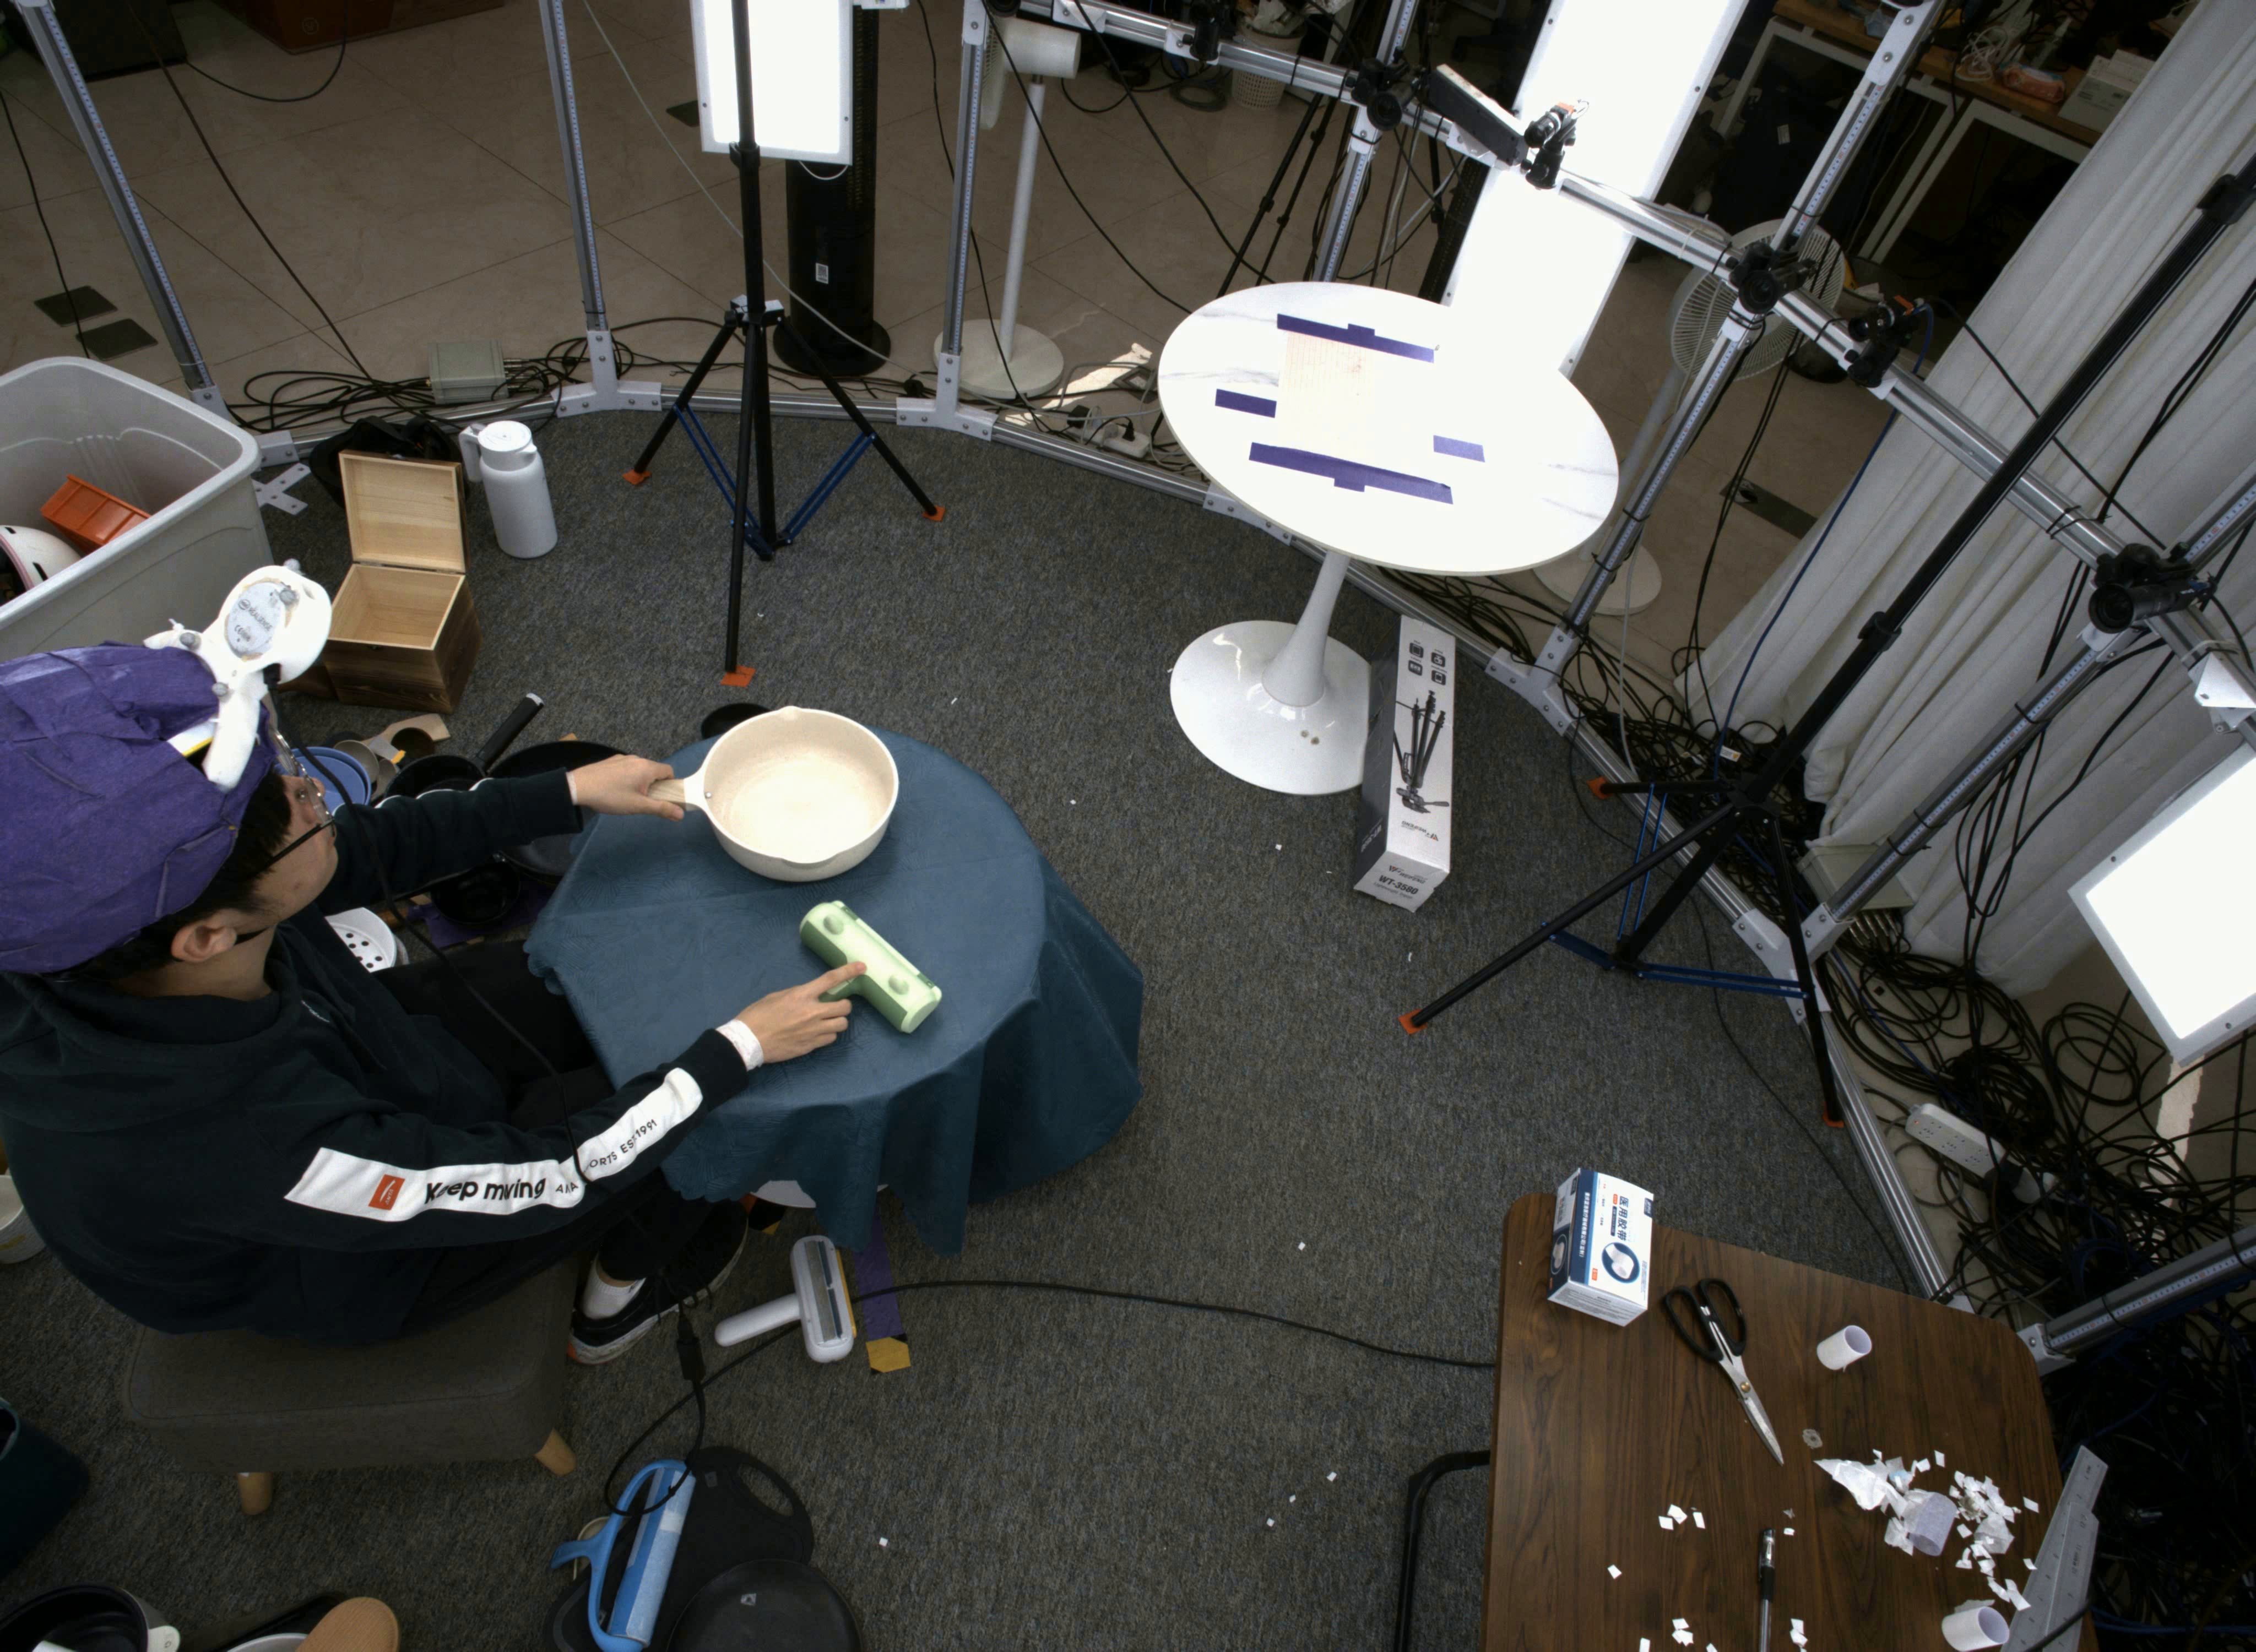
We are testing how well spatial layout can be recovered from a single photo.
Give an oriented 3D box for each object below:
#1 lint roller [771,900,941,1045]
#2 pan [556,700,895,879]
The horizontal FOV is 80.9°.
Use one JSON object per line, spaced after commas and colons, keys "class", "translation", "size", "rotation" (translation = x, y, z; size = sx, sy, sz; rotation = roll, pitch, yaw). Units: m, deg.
{"class": "lint roller", "translation": [-0.352, 0.188, 1.554], "size": [0.195, 0.083, 0.184], "rotation": [40, 46, 14]}
{"class": "pan", "translation": [-0.519, -0.035, 1.666], "size": [0.436, 0.104, 0.257], "rotation": [-7, 58, -19]}
